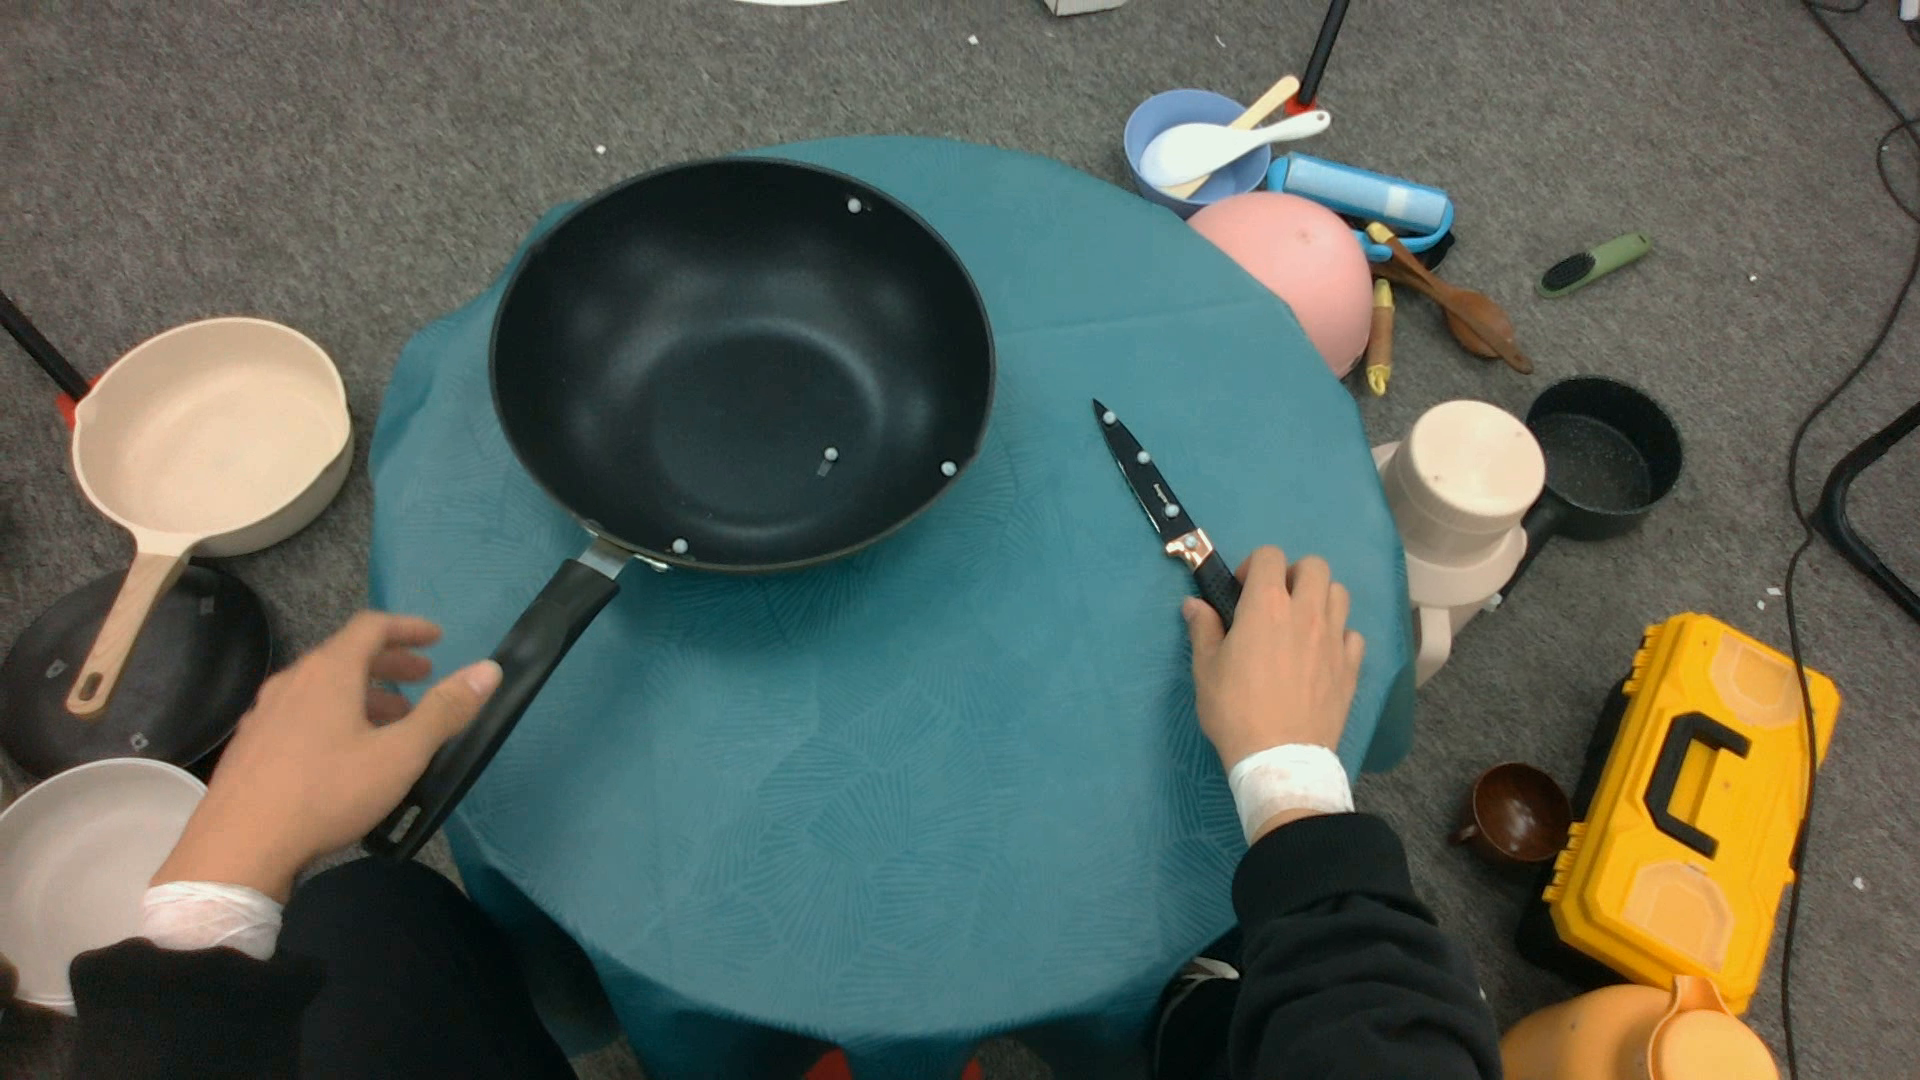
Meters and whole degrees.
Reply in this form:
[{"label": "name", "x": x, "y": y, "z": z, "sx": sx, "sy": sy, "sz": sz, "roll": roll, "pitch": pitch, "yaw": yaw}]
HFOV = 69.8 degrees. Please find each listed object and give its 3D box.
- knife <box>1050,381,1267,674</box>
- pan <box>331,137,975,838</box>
[{"label": "knife", "x": 0.117, "y": -0.014, "z": 0.831, "sx": 0.026, "sy": 0.017, "sz": 0.226, "roll": -29, "pitch": 68, "yaw": -4}, {"label": "pan", "x": -0.175, "y": -0.030, "z": 0.768, "sx": 0.288, "sy": 0.086, "sz": 0.465, "roll": 26, "pitch": 64, "yaw": 7}]
